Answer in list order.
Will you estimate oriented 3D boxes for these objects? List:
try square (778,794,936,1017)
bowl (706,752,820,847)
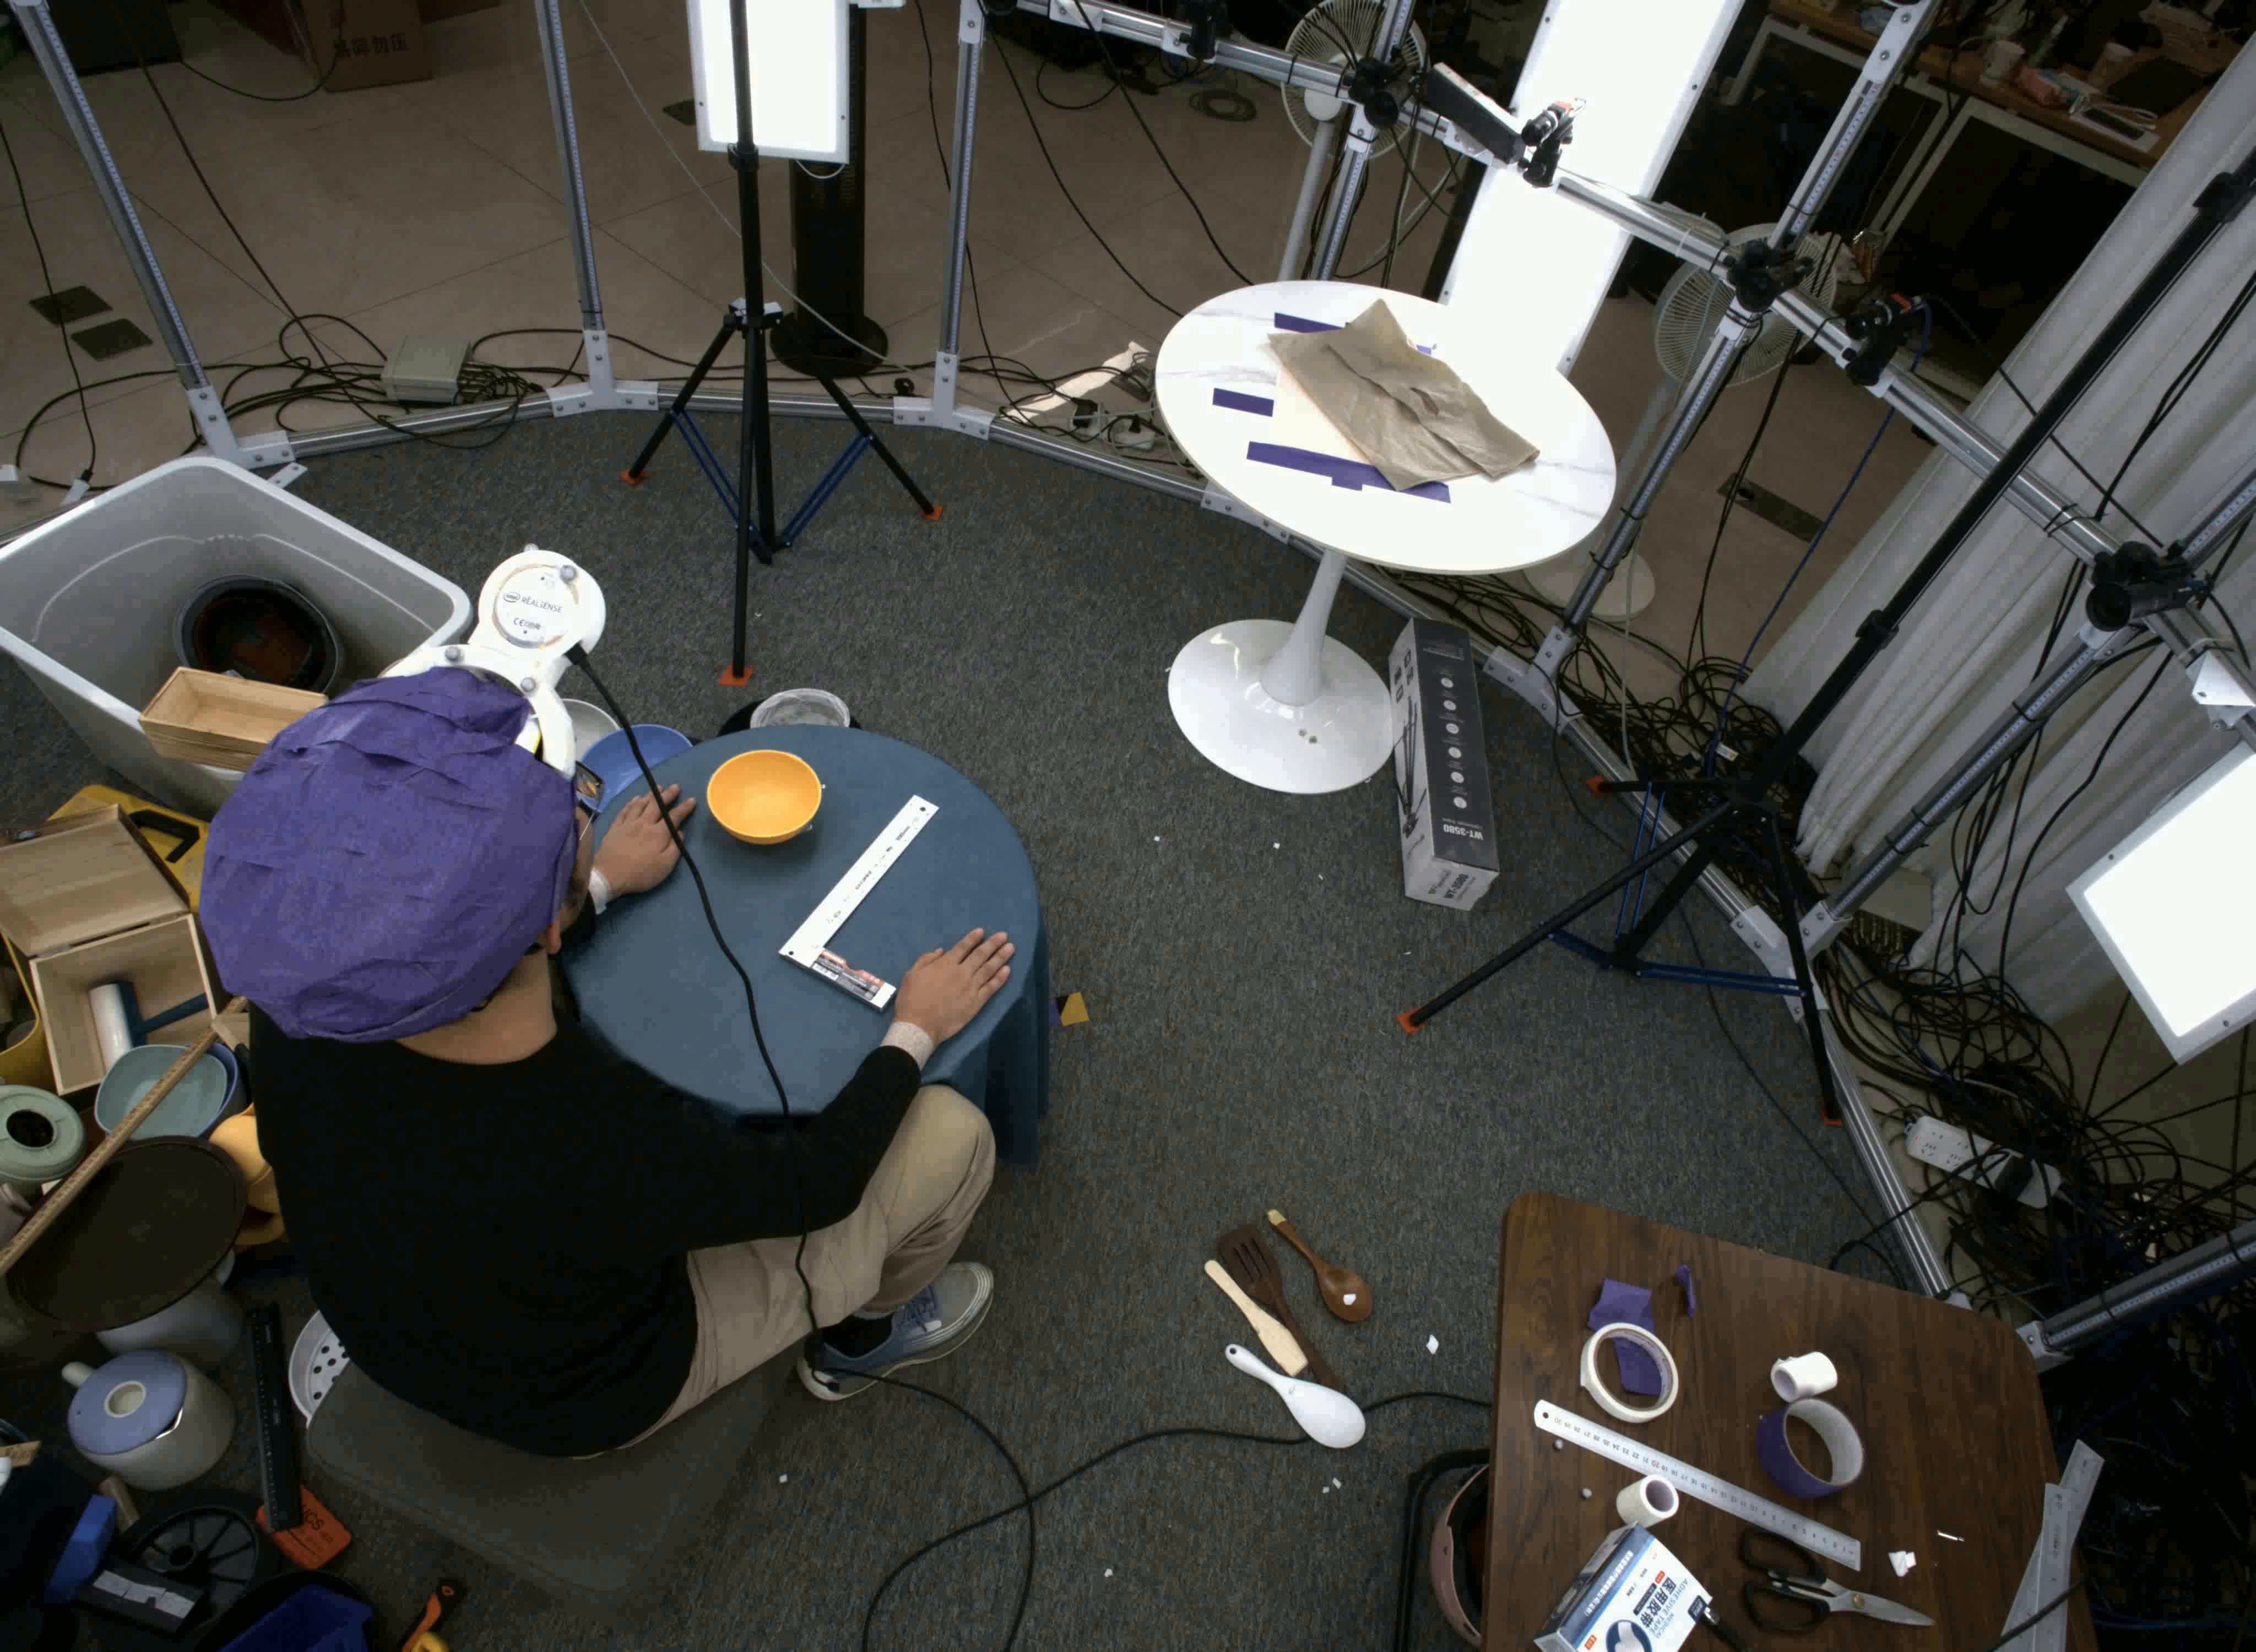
[{"bbox_3d":[-0.300,0.092,1.681,0.150,0.016,0.311,30,51,4],"label":"try square"},{"bbox_3d":[-0.472,-0.024,1.689,0.144,0.061,0.143,6,53,-6],"label":"bowl"}]
